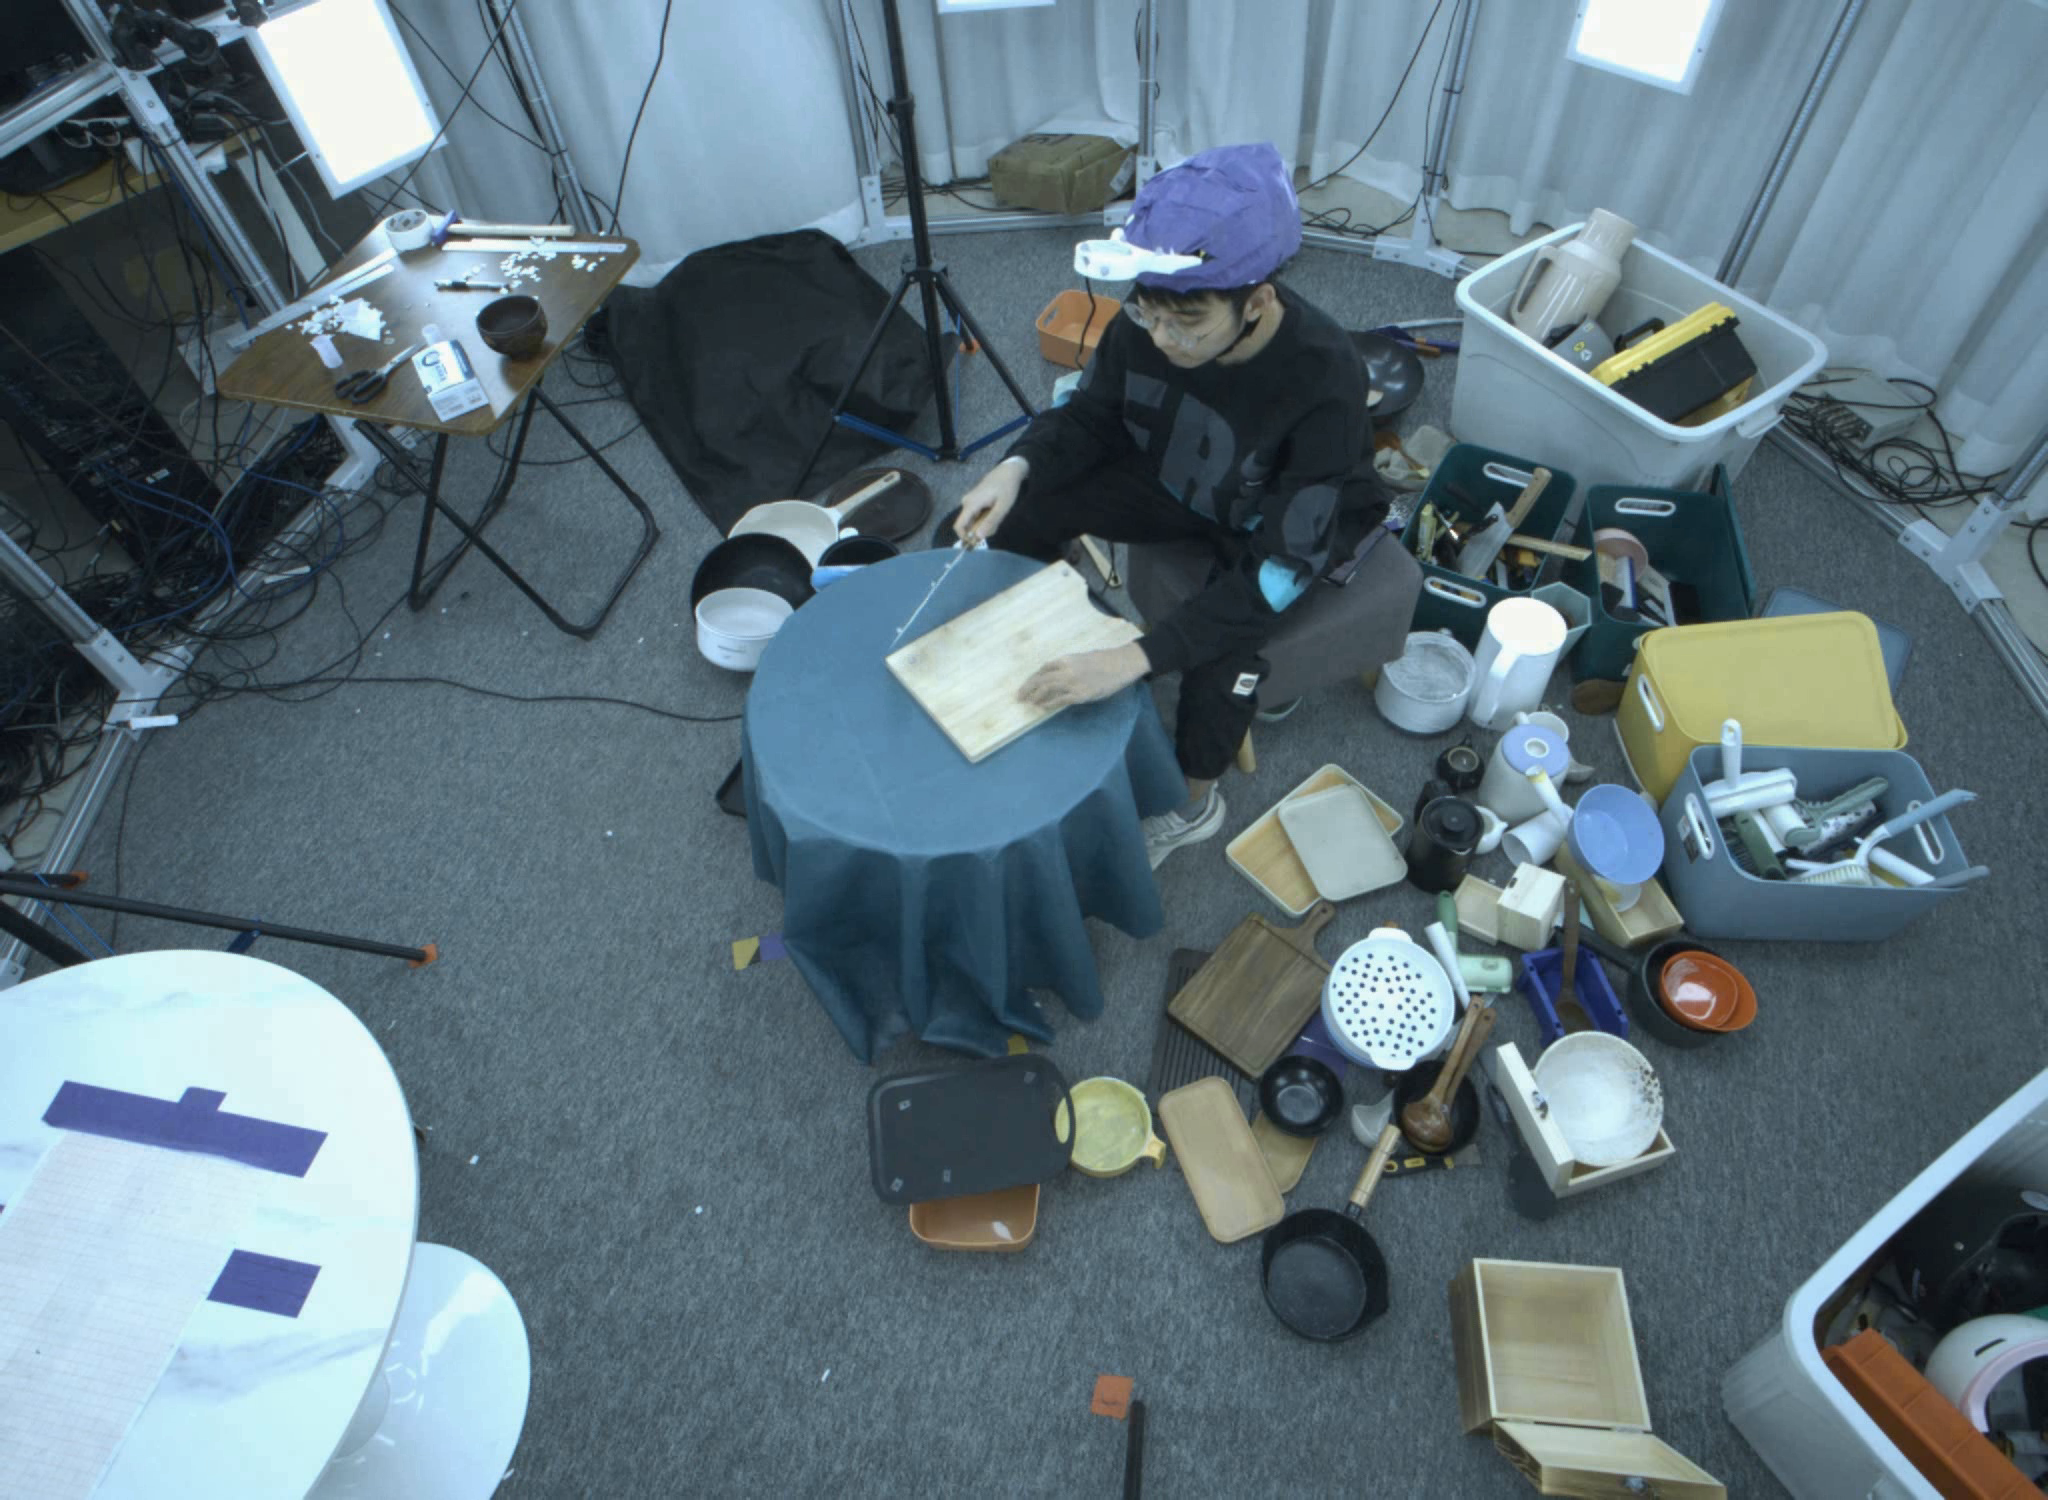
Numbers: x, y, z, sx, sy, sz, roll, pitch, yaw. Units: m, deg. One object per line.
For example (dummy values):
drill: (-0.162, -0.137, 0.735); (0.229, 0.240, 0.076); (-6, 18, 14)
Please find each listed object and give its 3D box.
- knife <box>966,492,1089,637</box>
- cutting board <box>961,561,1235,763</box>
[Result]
knife: (0.002, -0.281, 1.869); (0.021, 0.092, 0.307); (40, 62, -6)
cutting board: (0.109, -0.143, 1.874); (0.351, 0.024, 0.246); (-29, 59, -17)
